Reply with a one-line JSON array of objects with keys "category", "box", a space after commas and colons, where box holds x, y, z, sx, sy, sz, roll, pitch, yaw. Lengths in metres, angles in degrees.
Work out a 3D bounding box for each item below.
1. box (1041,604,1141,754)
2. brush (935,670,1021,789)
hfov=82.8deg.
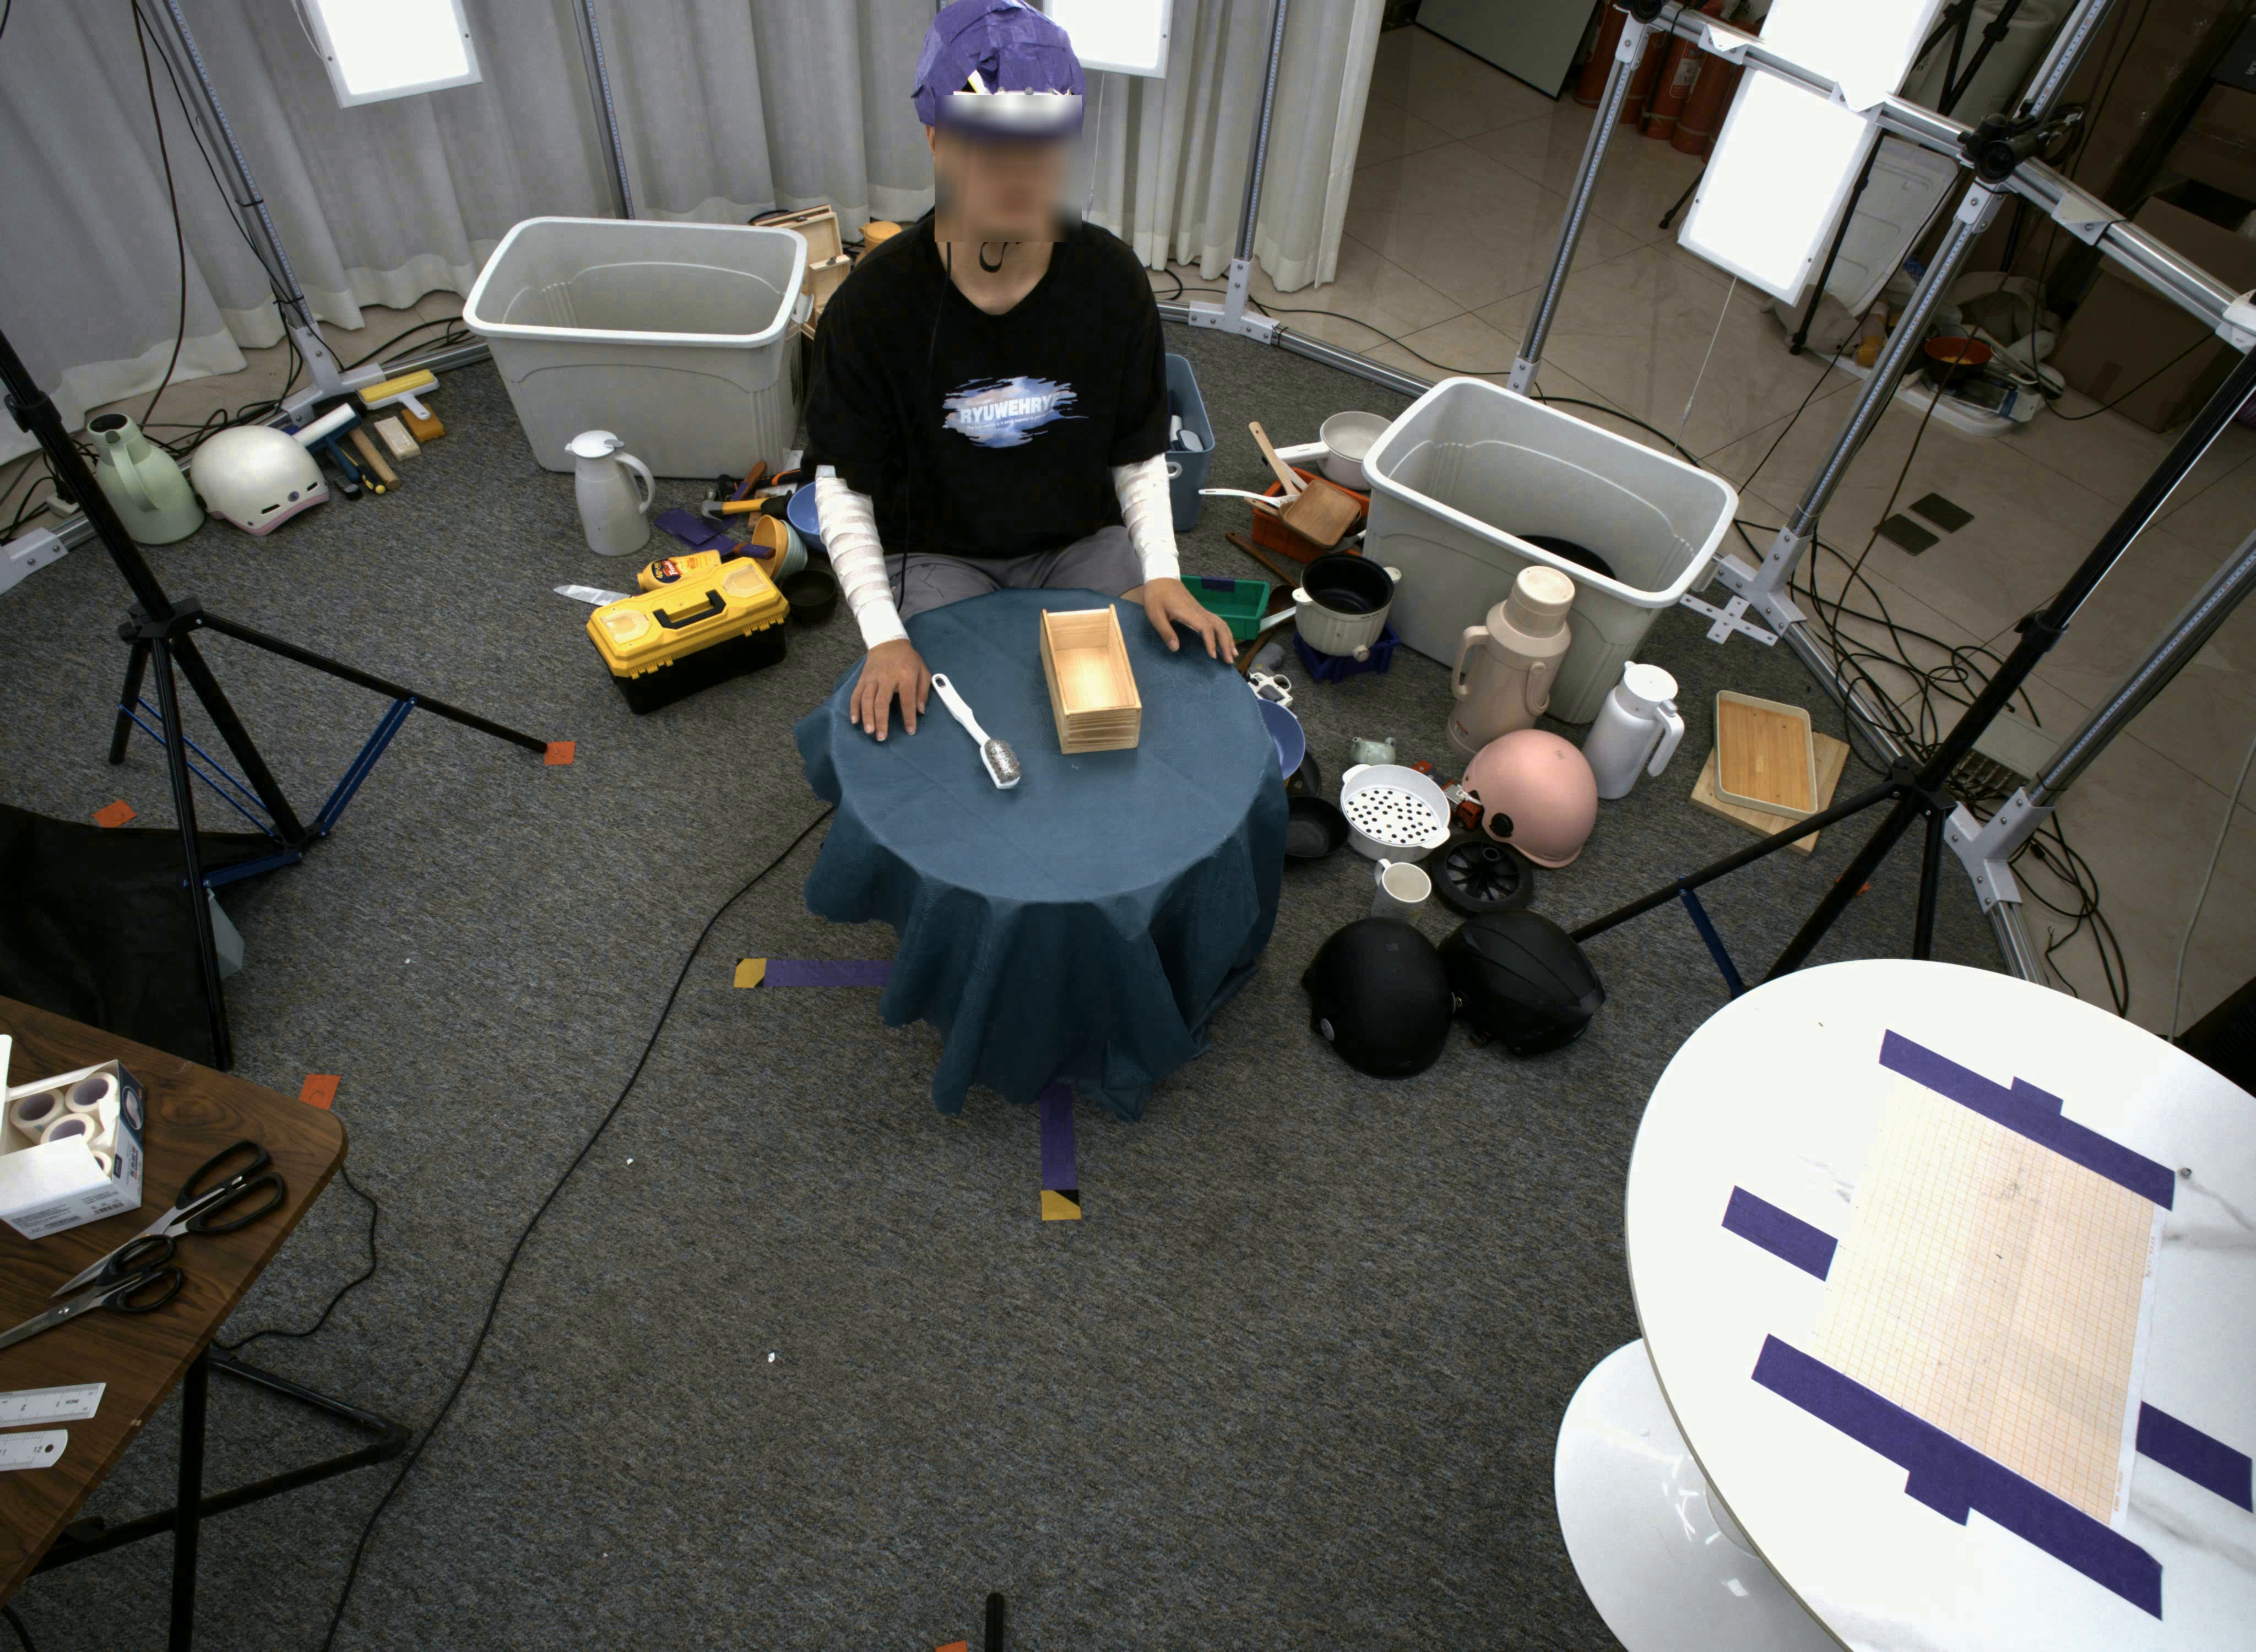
[{"category": "box", "box": [-0.055, -0.208, 1.798, 0.107, 0.078, 0.217, -7, 49, -9]}, {"category": "brush", "box": [-0.209, -0.145, 1.753, 0.034, 0.049, 0.249, -19, 54, -19]}]
